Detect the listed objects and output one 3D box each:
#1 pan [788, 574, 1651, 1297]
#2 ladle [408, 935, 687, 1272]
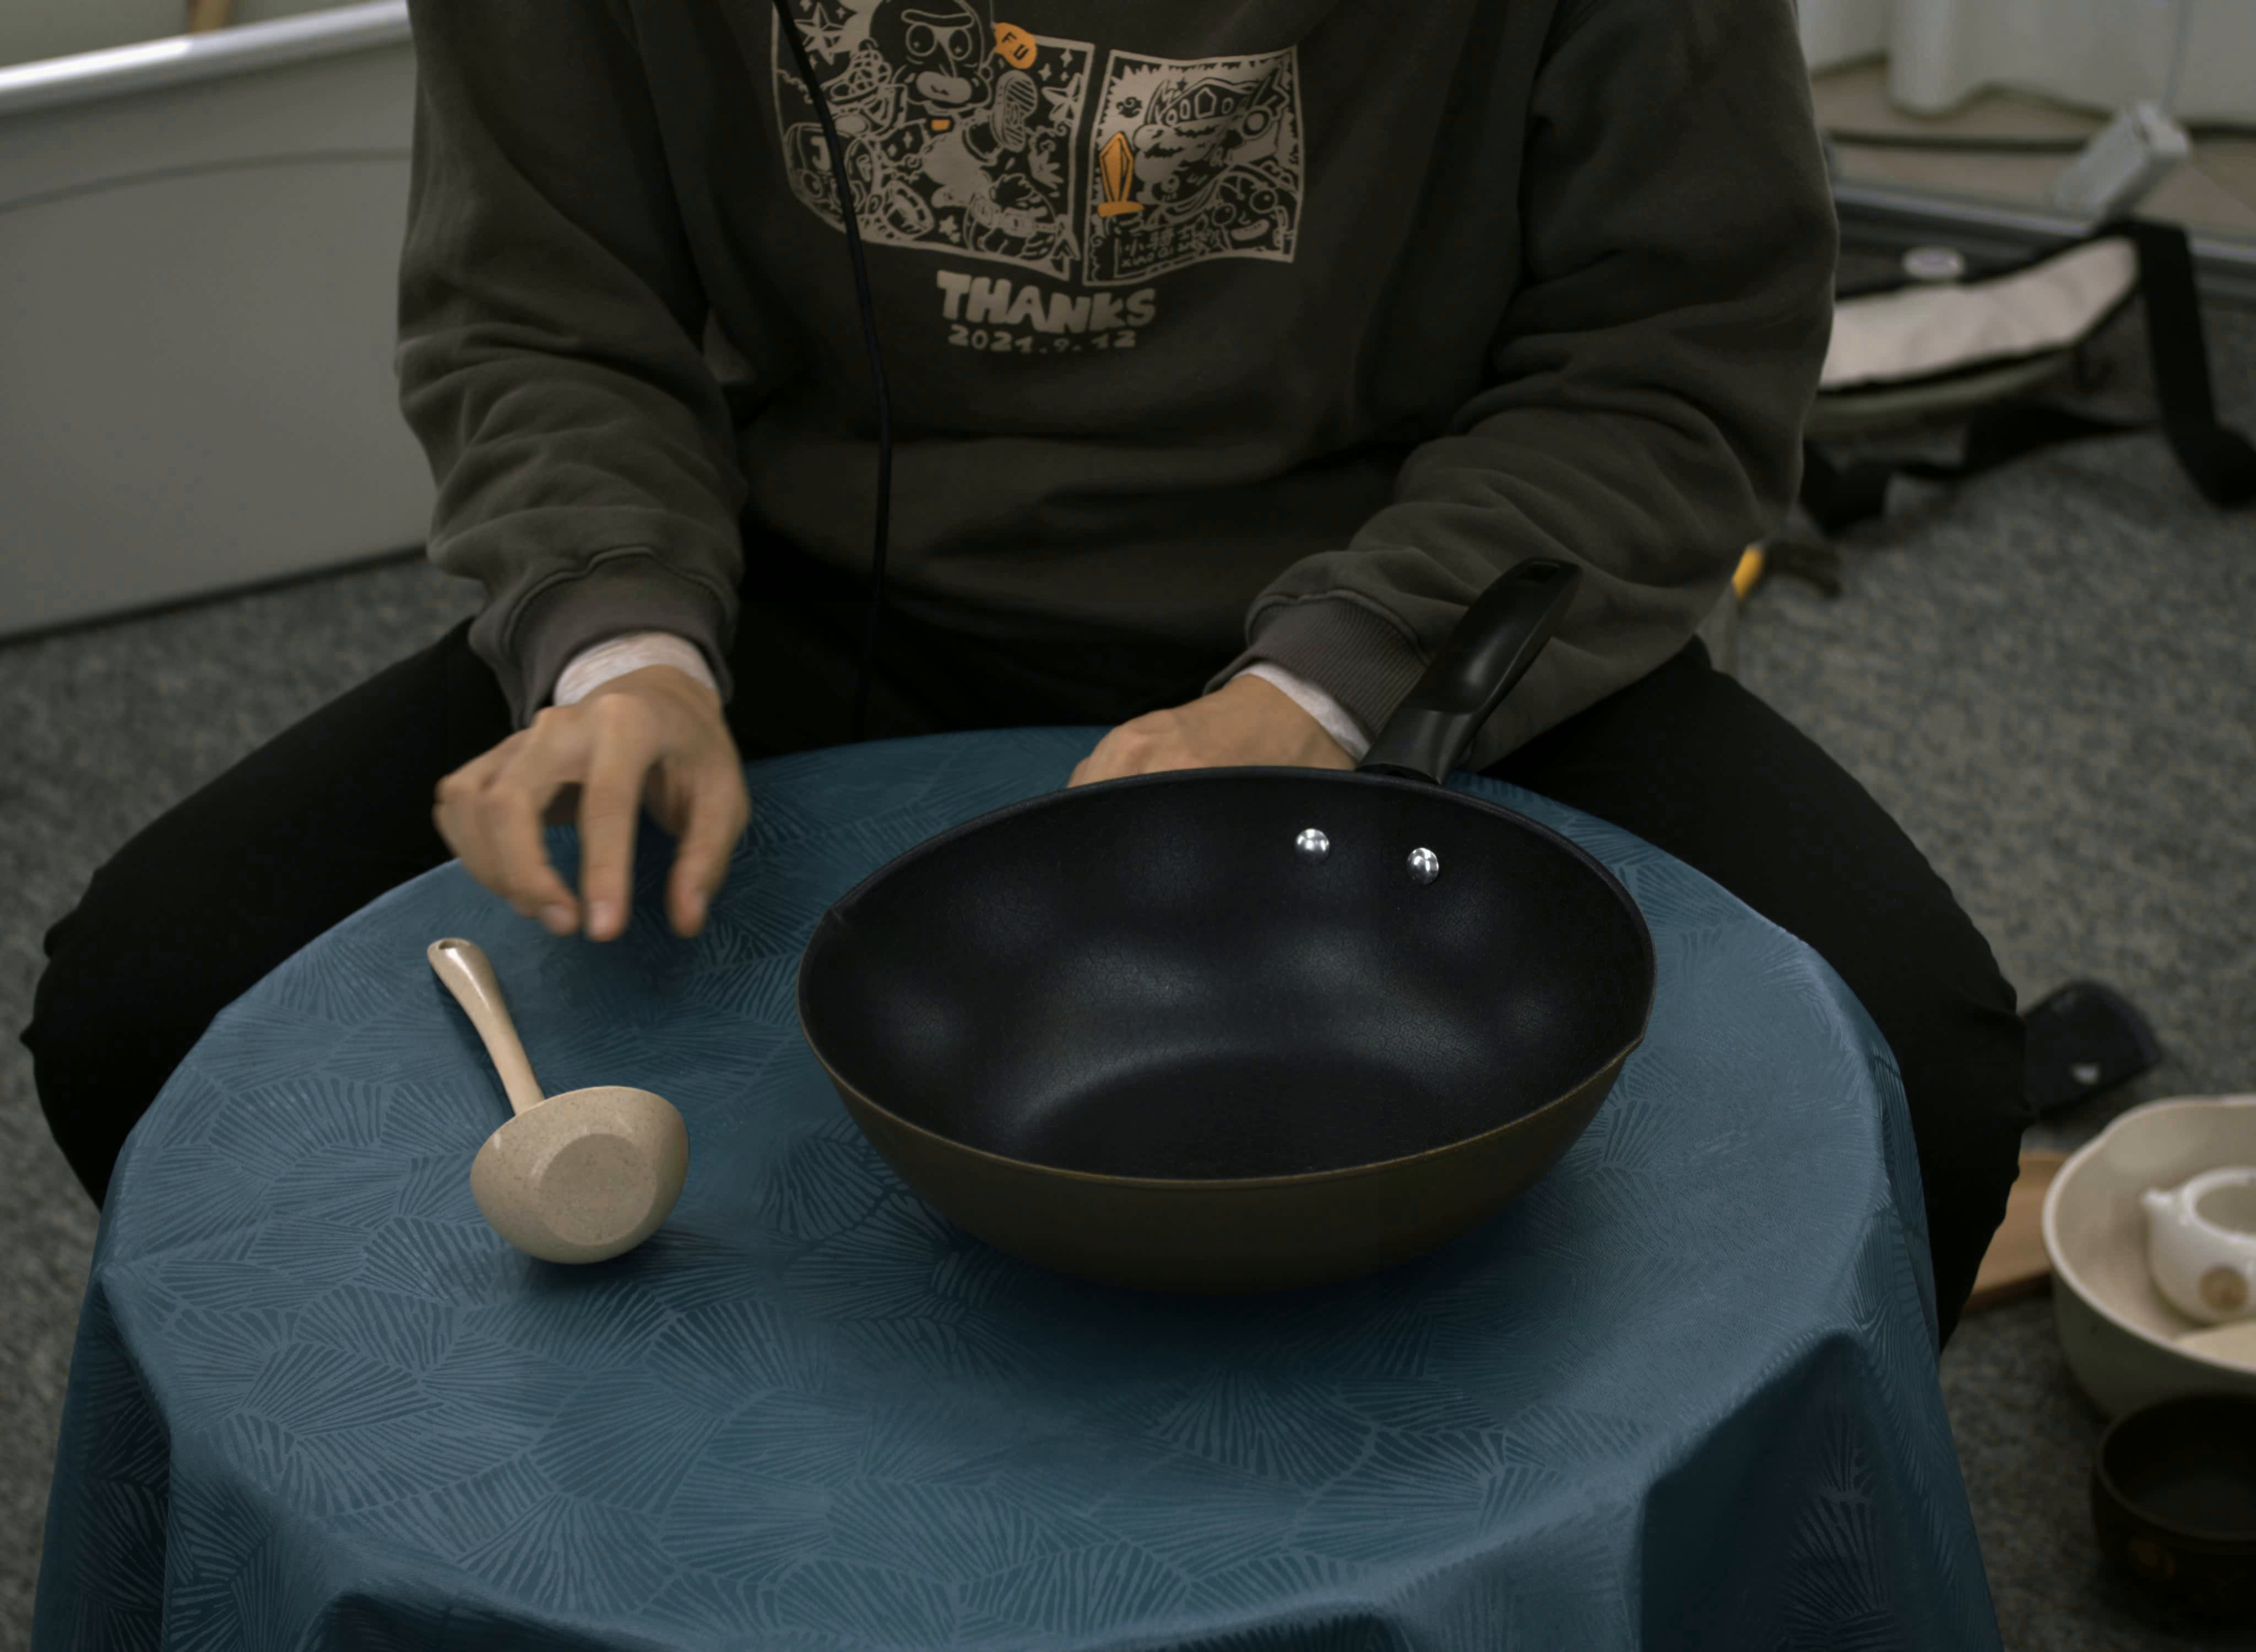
[{"bbox_3d":[0.068,0.038,1.925,0.286,0.086,0.471,9,29,22],"label":"pan"},{"bbox_3d":[-0.213,0.068,1.907,0.072,0.072,0.256,-17,31,-14],"label":"ladle"}]
